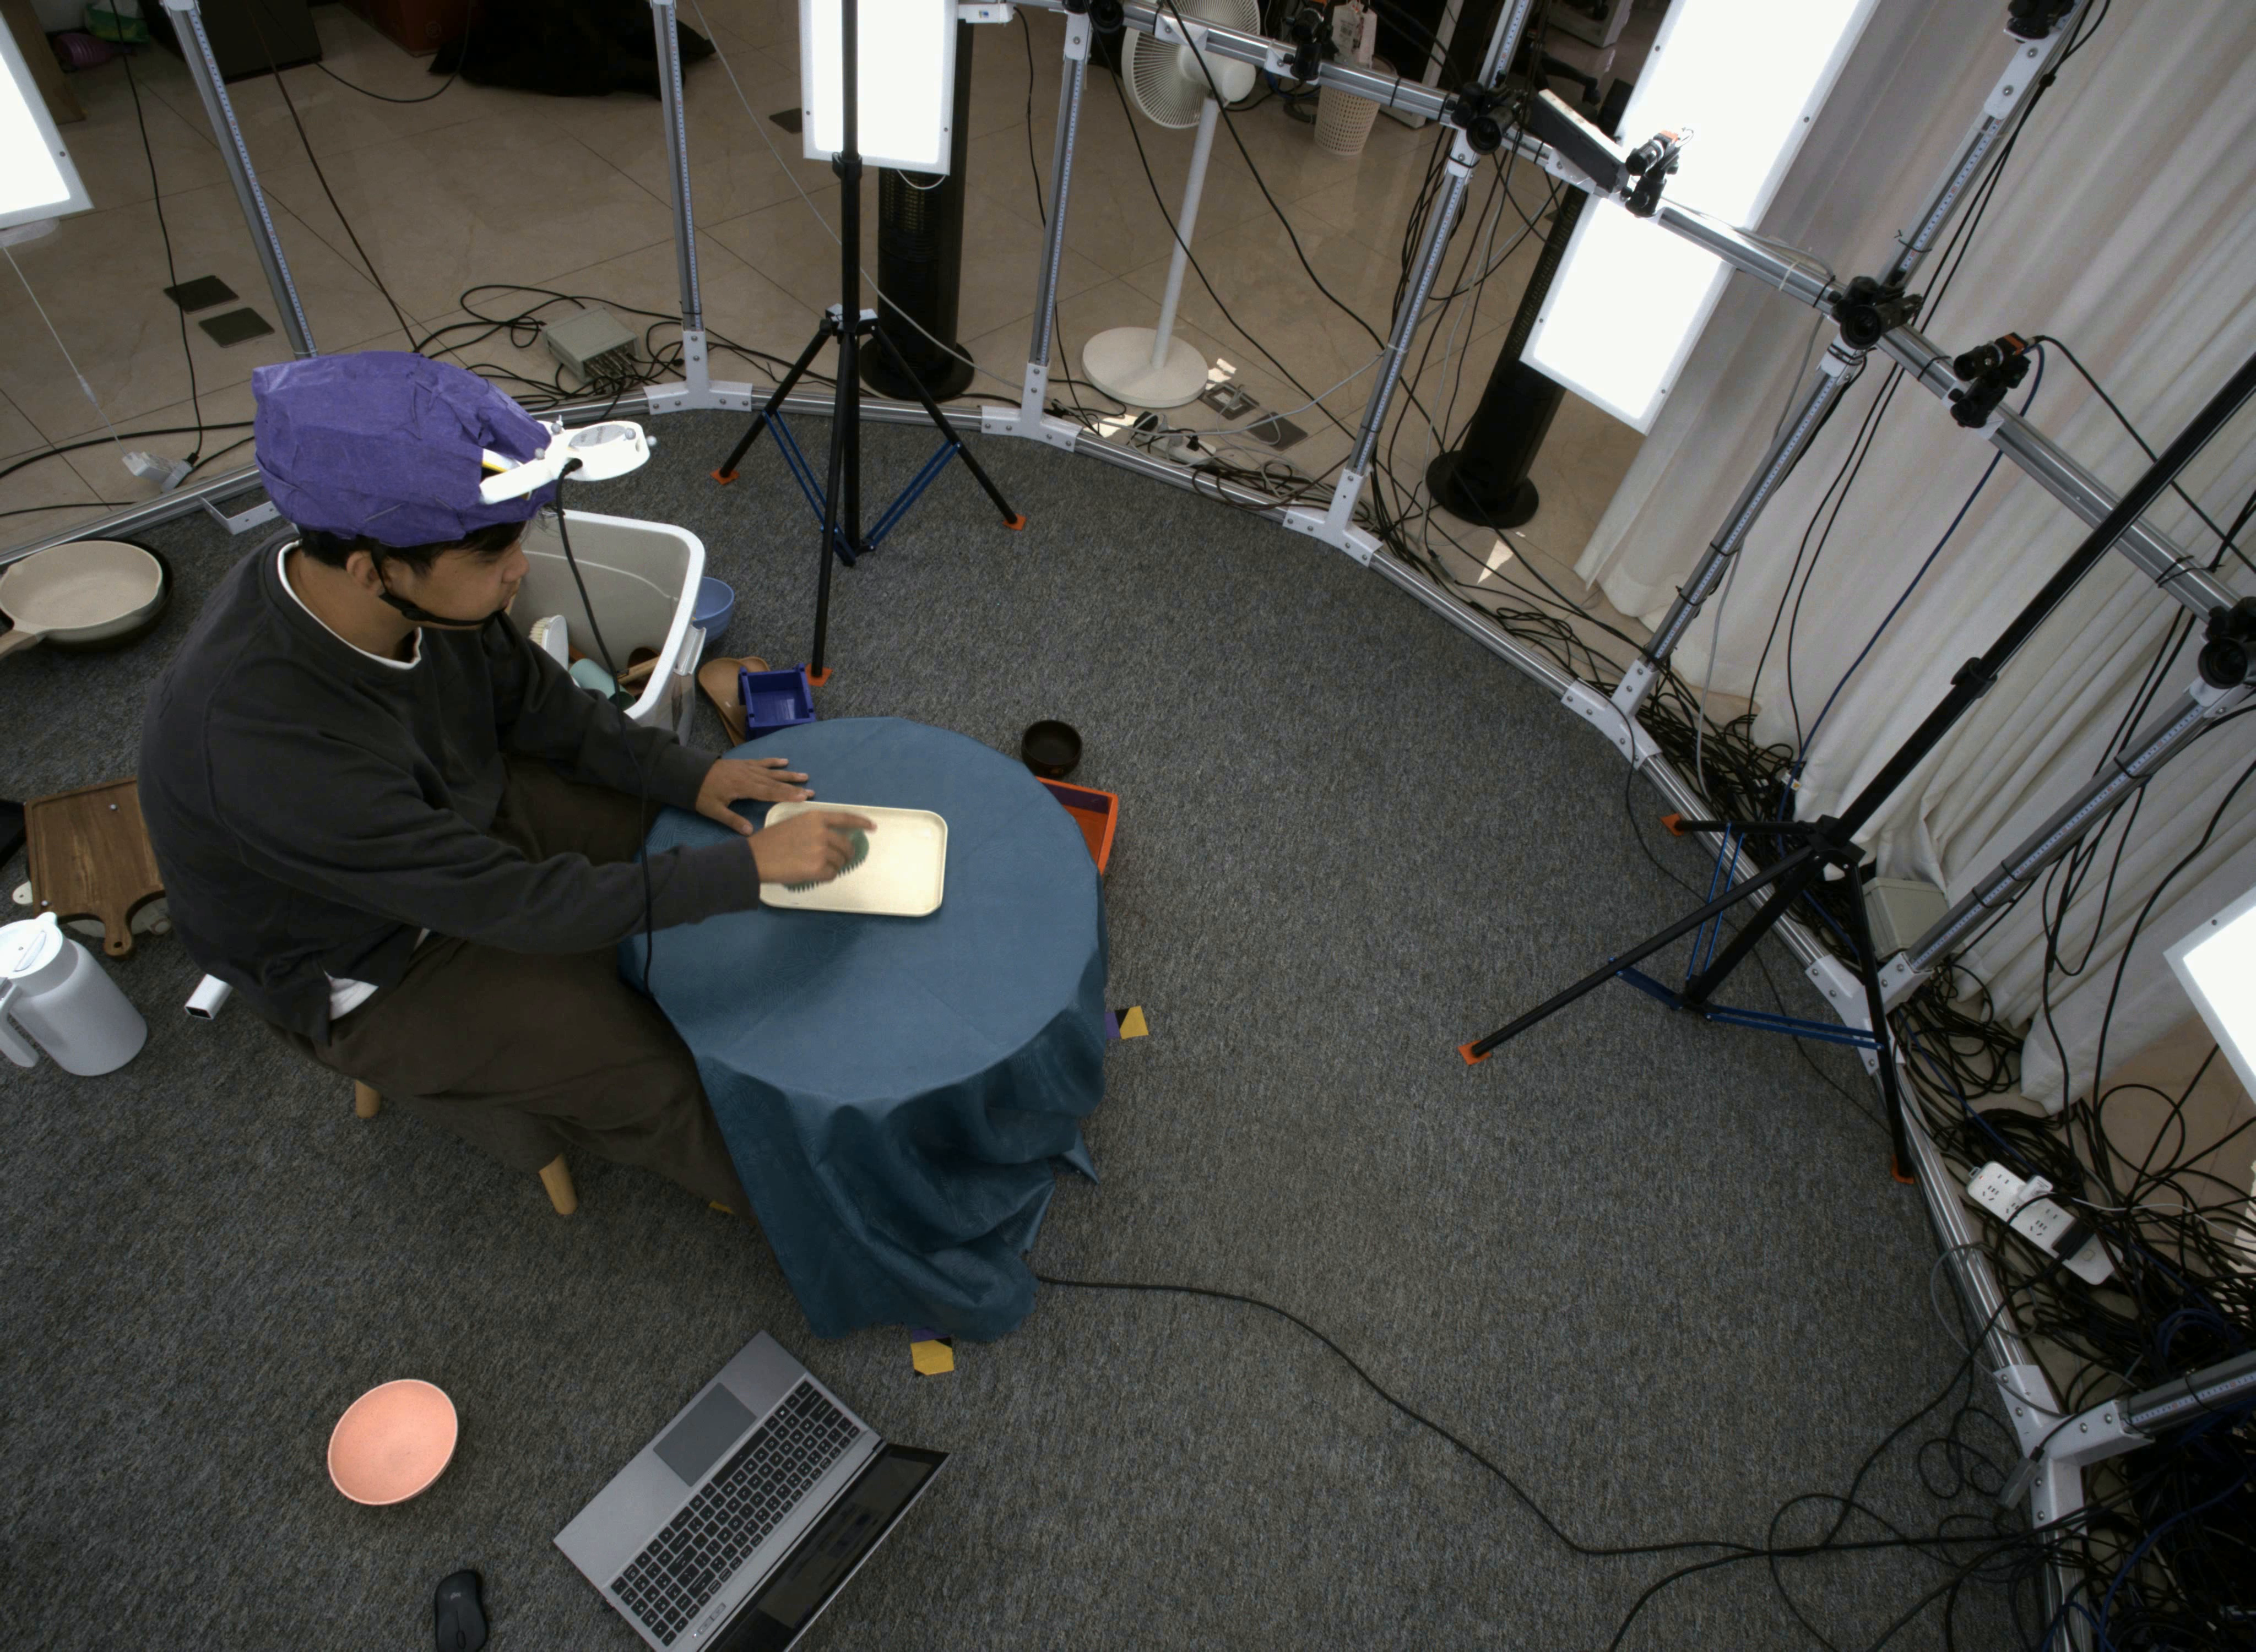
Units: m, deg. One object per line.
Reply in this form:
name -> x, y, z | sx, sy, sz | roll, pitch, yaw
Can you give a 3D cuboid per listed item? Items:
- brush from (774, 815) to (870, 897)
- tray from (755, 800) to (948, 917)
brush -> -0.370, 0.037, 1.573 | 0.122, 0.077, 0.058 | -31, 68, -6
tray -> -0.357, 0.042, 1.694 | 0.239, 0.018, 0.168 | 5, 52, -10
